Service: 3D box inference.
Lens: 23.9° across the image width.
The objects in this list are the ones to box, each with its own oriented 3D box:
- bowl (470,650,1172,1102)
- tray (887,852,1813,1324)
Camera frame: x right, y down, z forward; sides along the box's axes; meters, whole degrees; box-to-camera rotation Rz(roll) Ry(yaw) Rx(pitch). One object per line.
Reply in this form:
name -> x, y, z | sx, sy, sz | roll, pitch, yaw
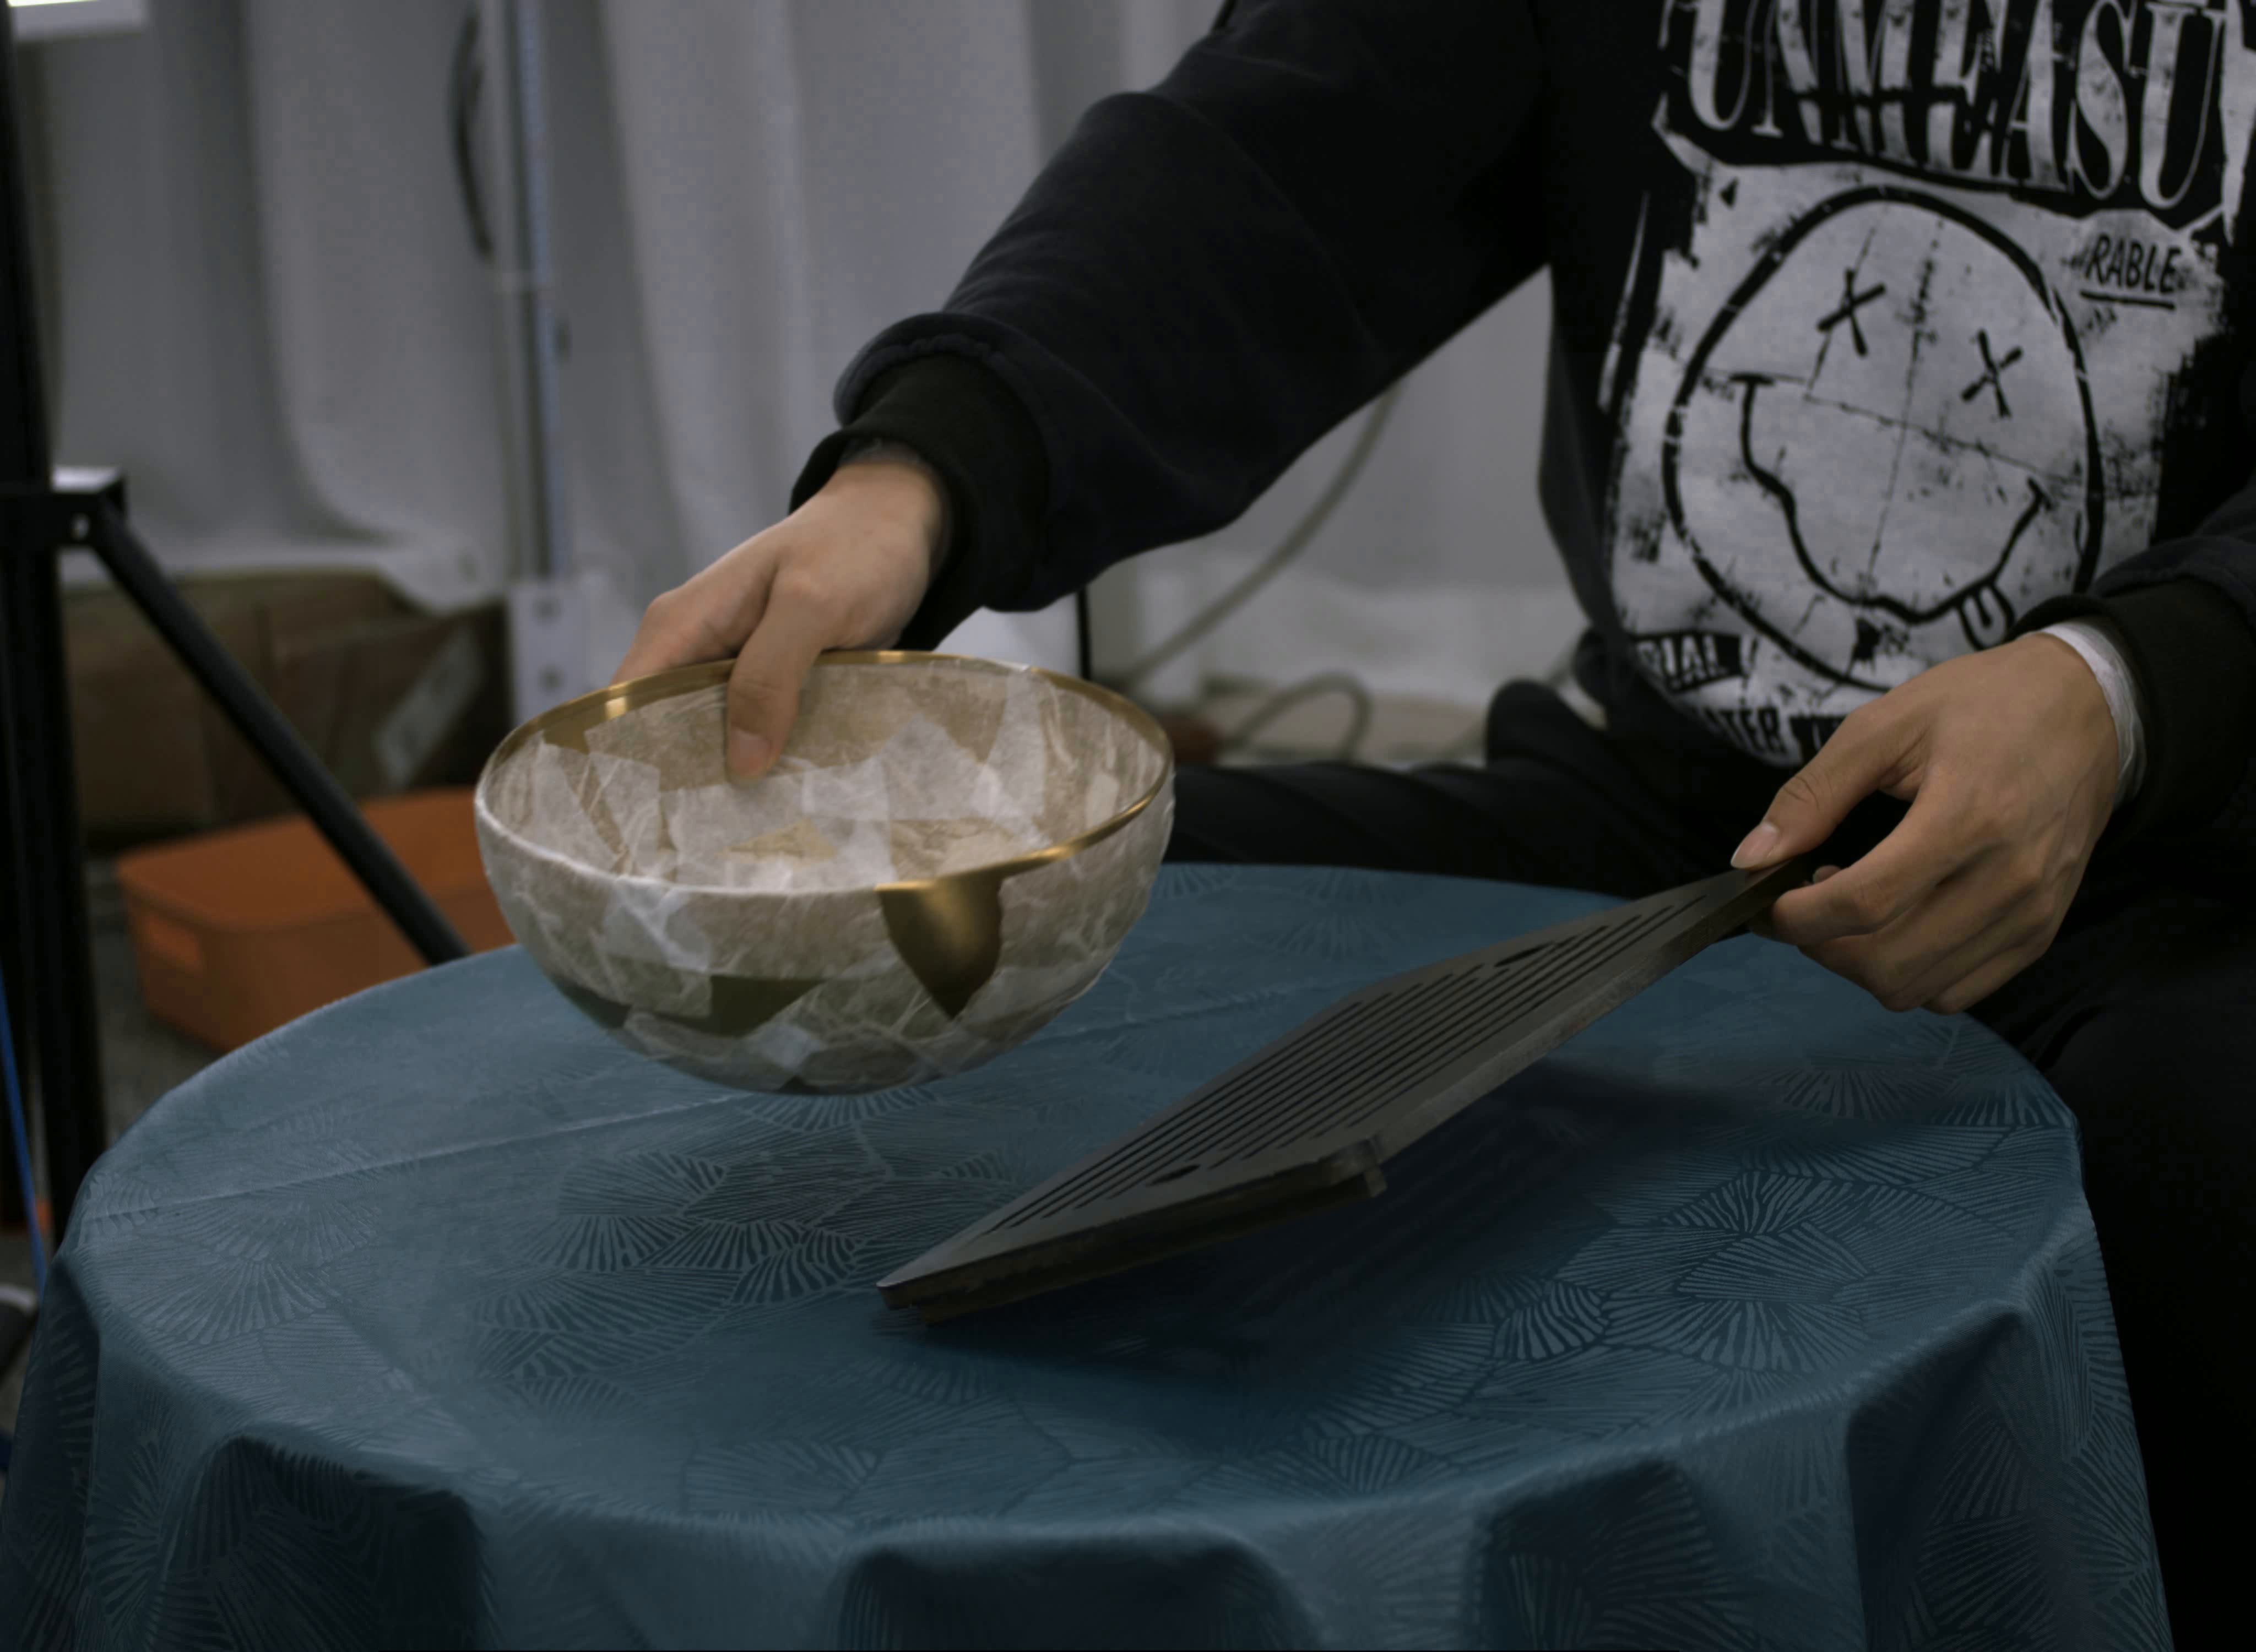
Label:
bowl -> -0.083, 0.023, 1.545 | 0.213, 0.094, 0.216 | -3, 21, 0
tray -> 0.072, 0.074, 1.525 | 0.173, 0.018, 0.300 | -19, 5, 34
